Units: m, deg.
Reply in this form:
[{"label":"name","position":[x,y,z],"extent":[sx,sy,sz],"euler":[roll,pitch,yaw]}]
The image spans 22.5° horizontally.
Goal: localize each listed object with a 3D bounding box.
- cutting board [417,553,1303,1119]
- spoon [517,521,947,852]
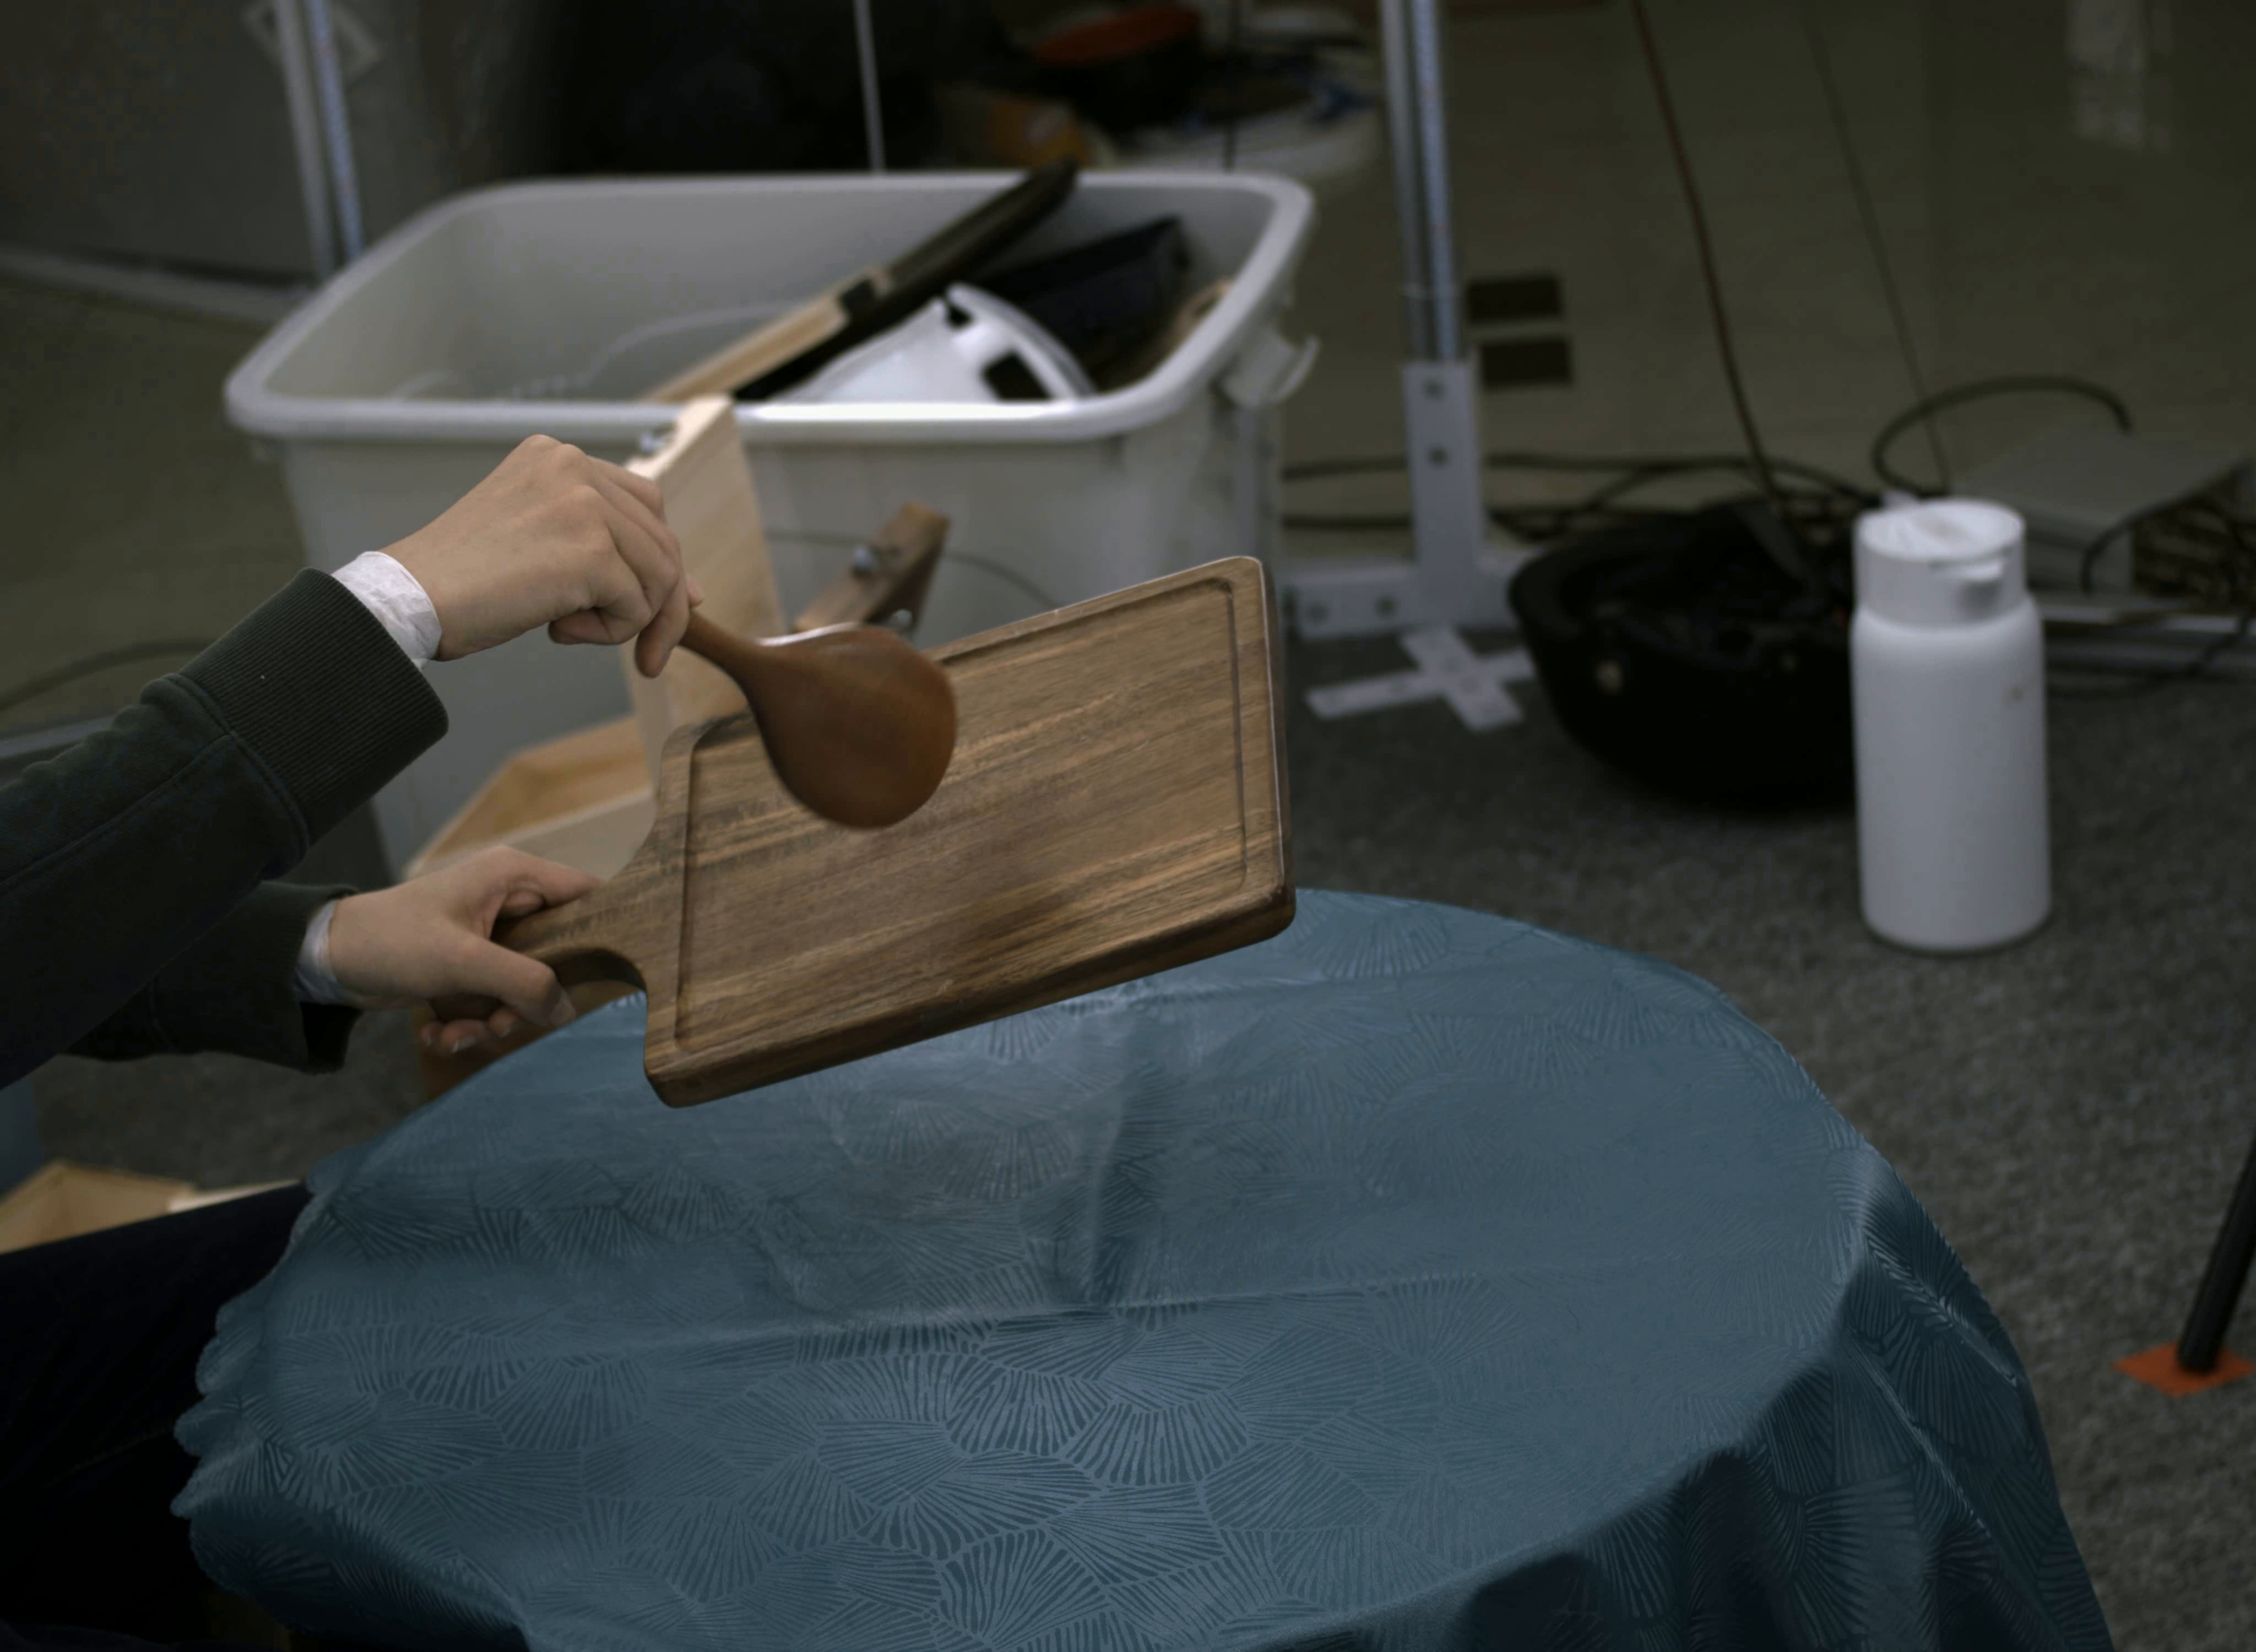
[{"label":"cutting board","position":[-0.106,0.015,2.133],"extent":[0.352,0.023,0.197],"euler":[-17,43,14]},{"label":"spoon","position":[-0.138,-0.053,2.002],"extent":[0.017,0.218,0.075],"euler":[29,87,48]}]
